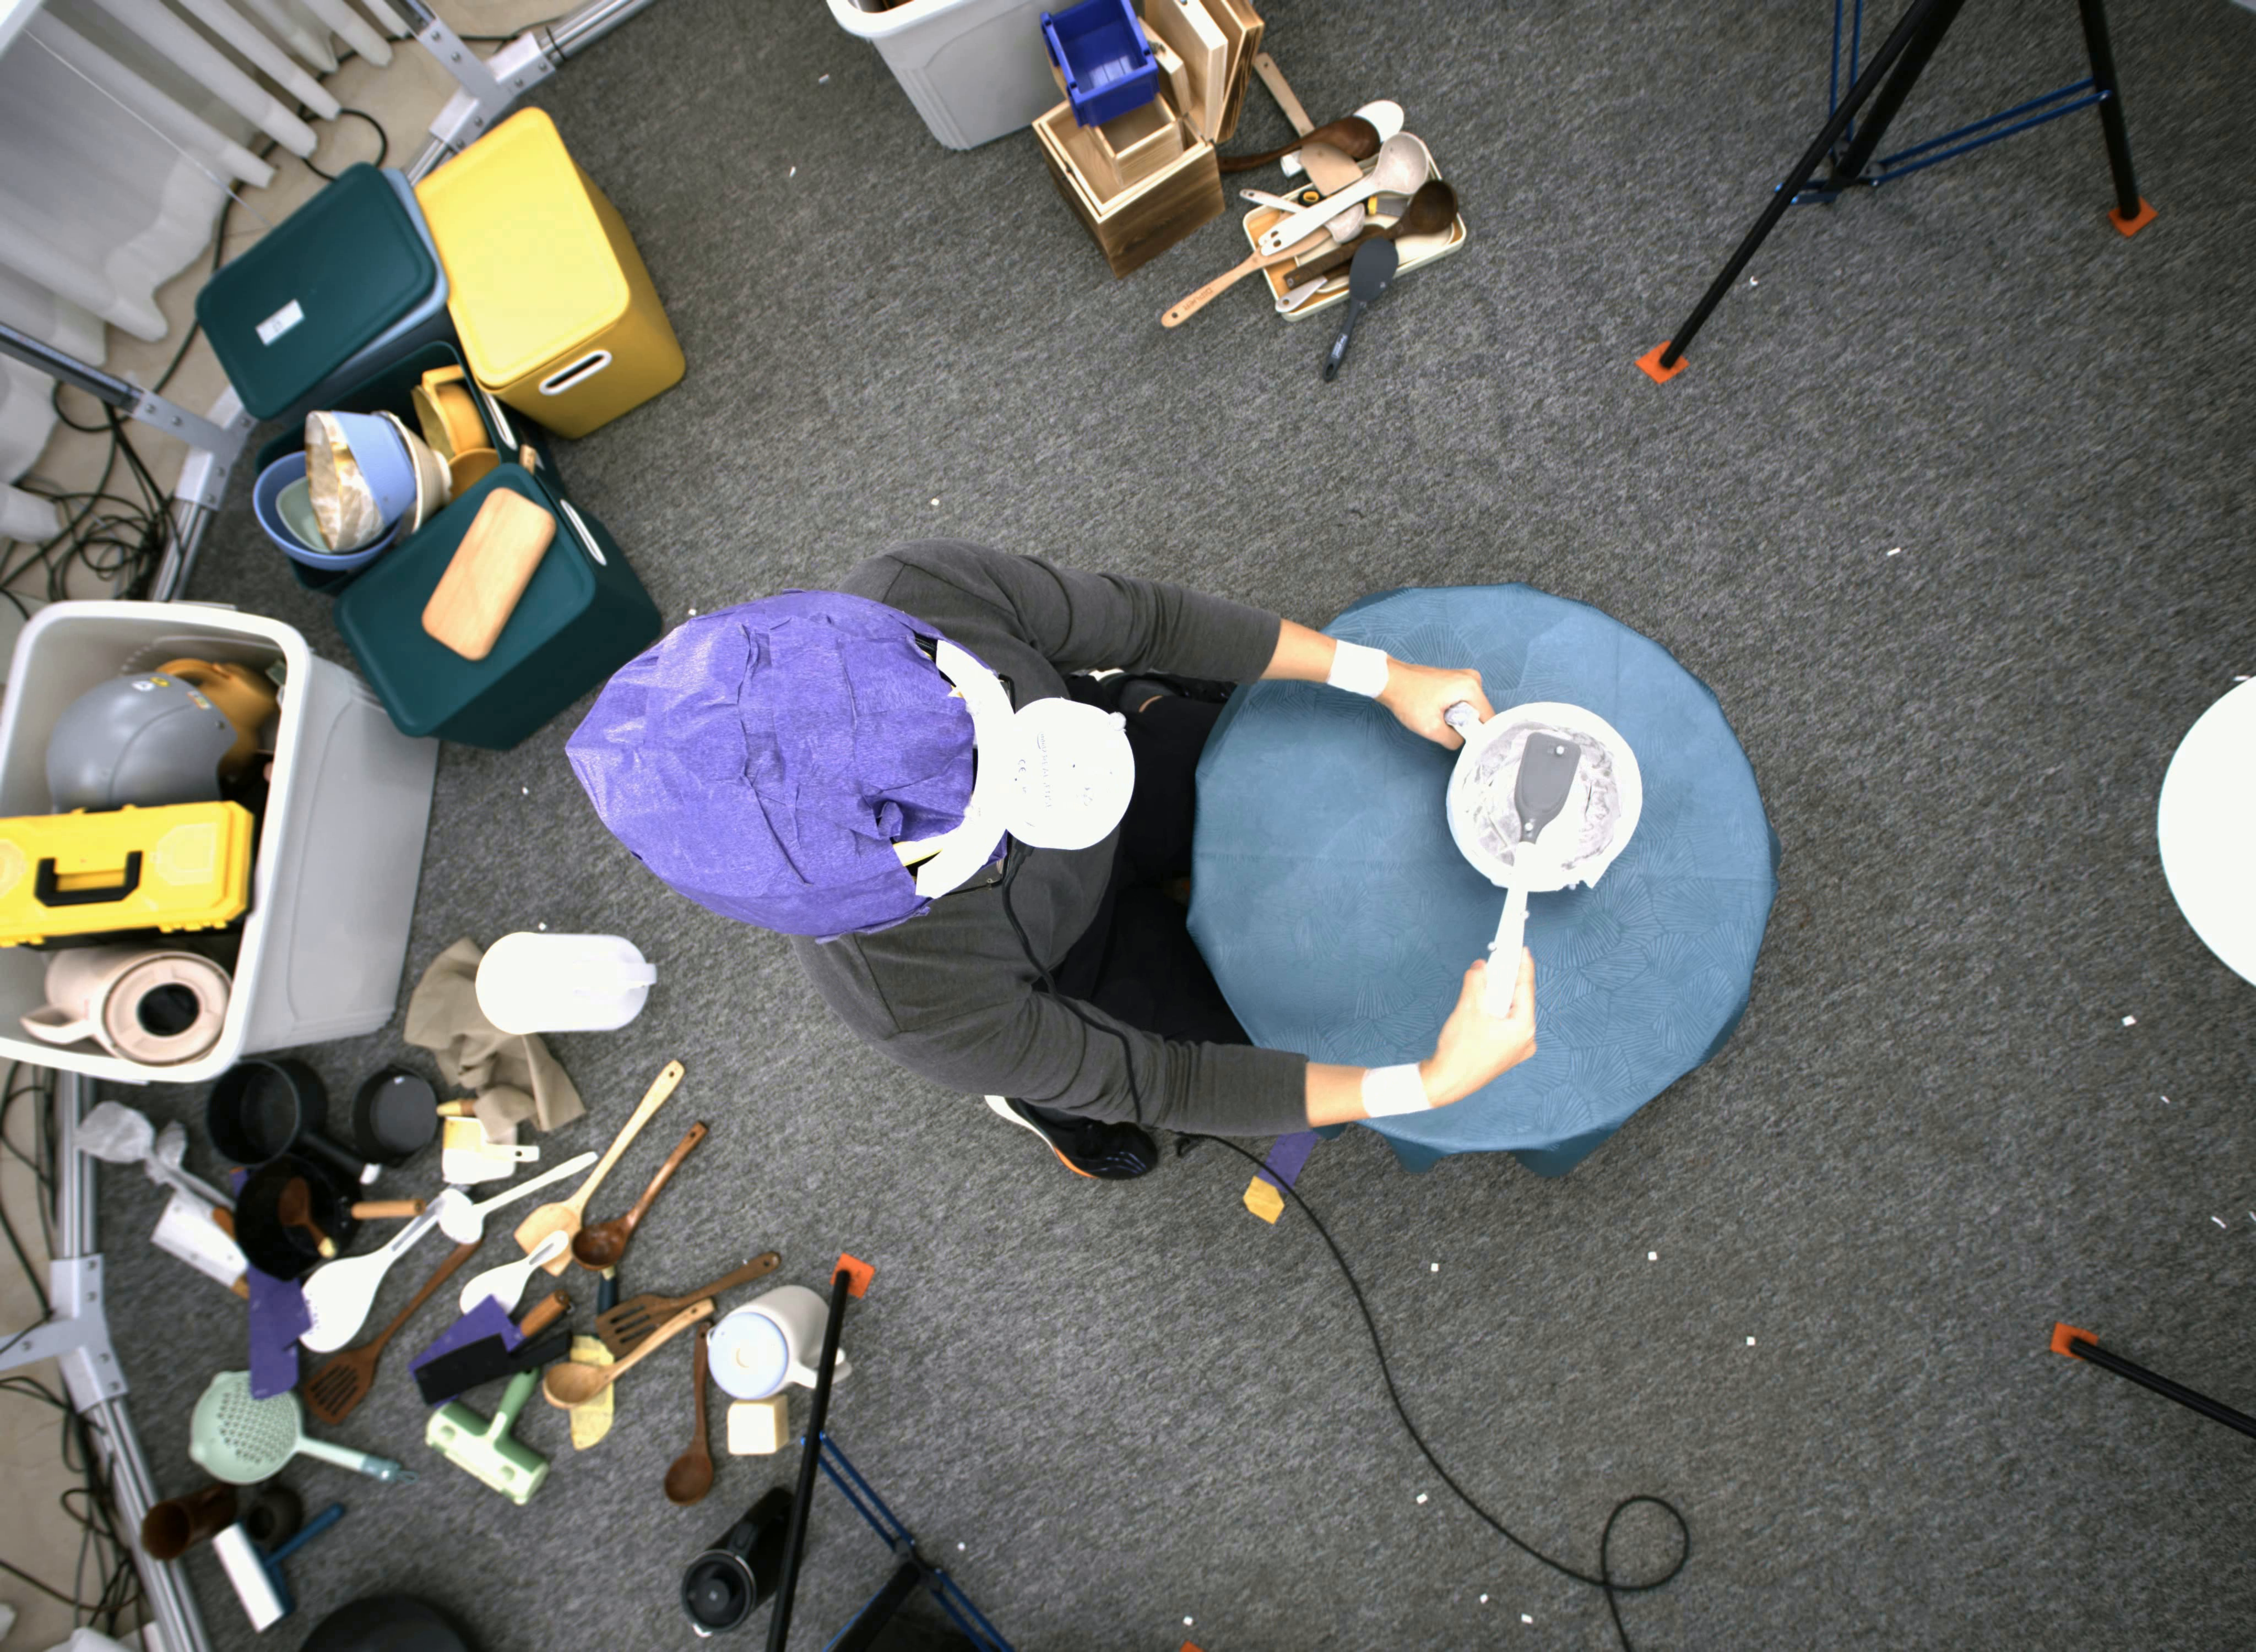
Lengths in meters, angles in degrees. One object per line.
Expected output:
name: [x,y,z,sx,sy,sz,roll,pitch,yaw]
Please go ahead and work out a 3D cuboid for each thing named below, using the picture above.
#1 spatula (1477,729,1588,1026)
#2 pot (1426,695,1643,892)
spatula: [0.371,0.043,1.276,0.059,0.032,0.284,15,76,11]
pot: [0.391,-0.046,1.374,0.179,0.137,0.232,-45,80,4]
